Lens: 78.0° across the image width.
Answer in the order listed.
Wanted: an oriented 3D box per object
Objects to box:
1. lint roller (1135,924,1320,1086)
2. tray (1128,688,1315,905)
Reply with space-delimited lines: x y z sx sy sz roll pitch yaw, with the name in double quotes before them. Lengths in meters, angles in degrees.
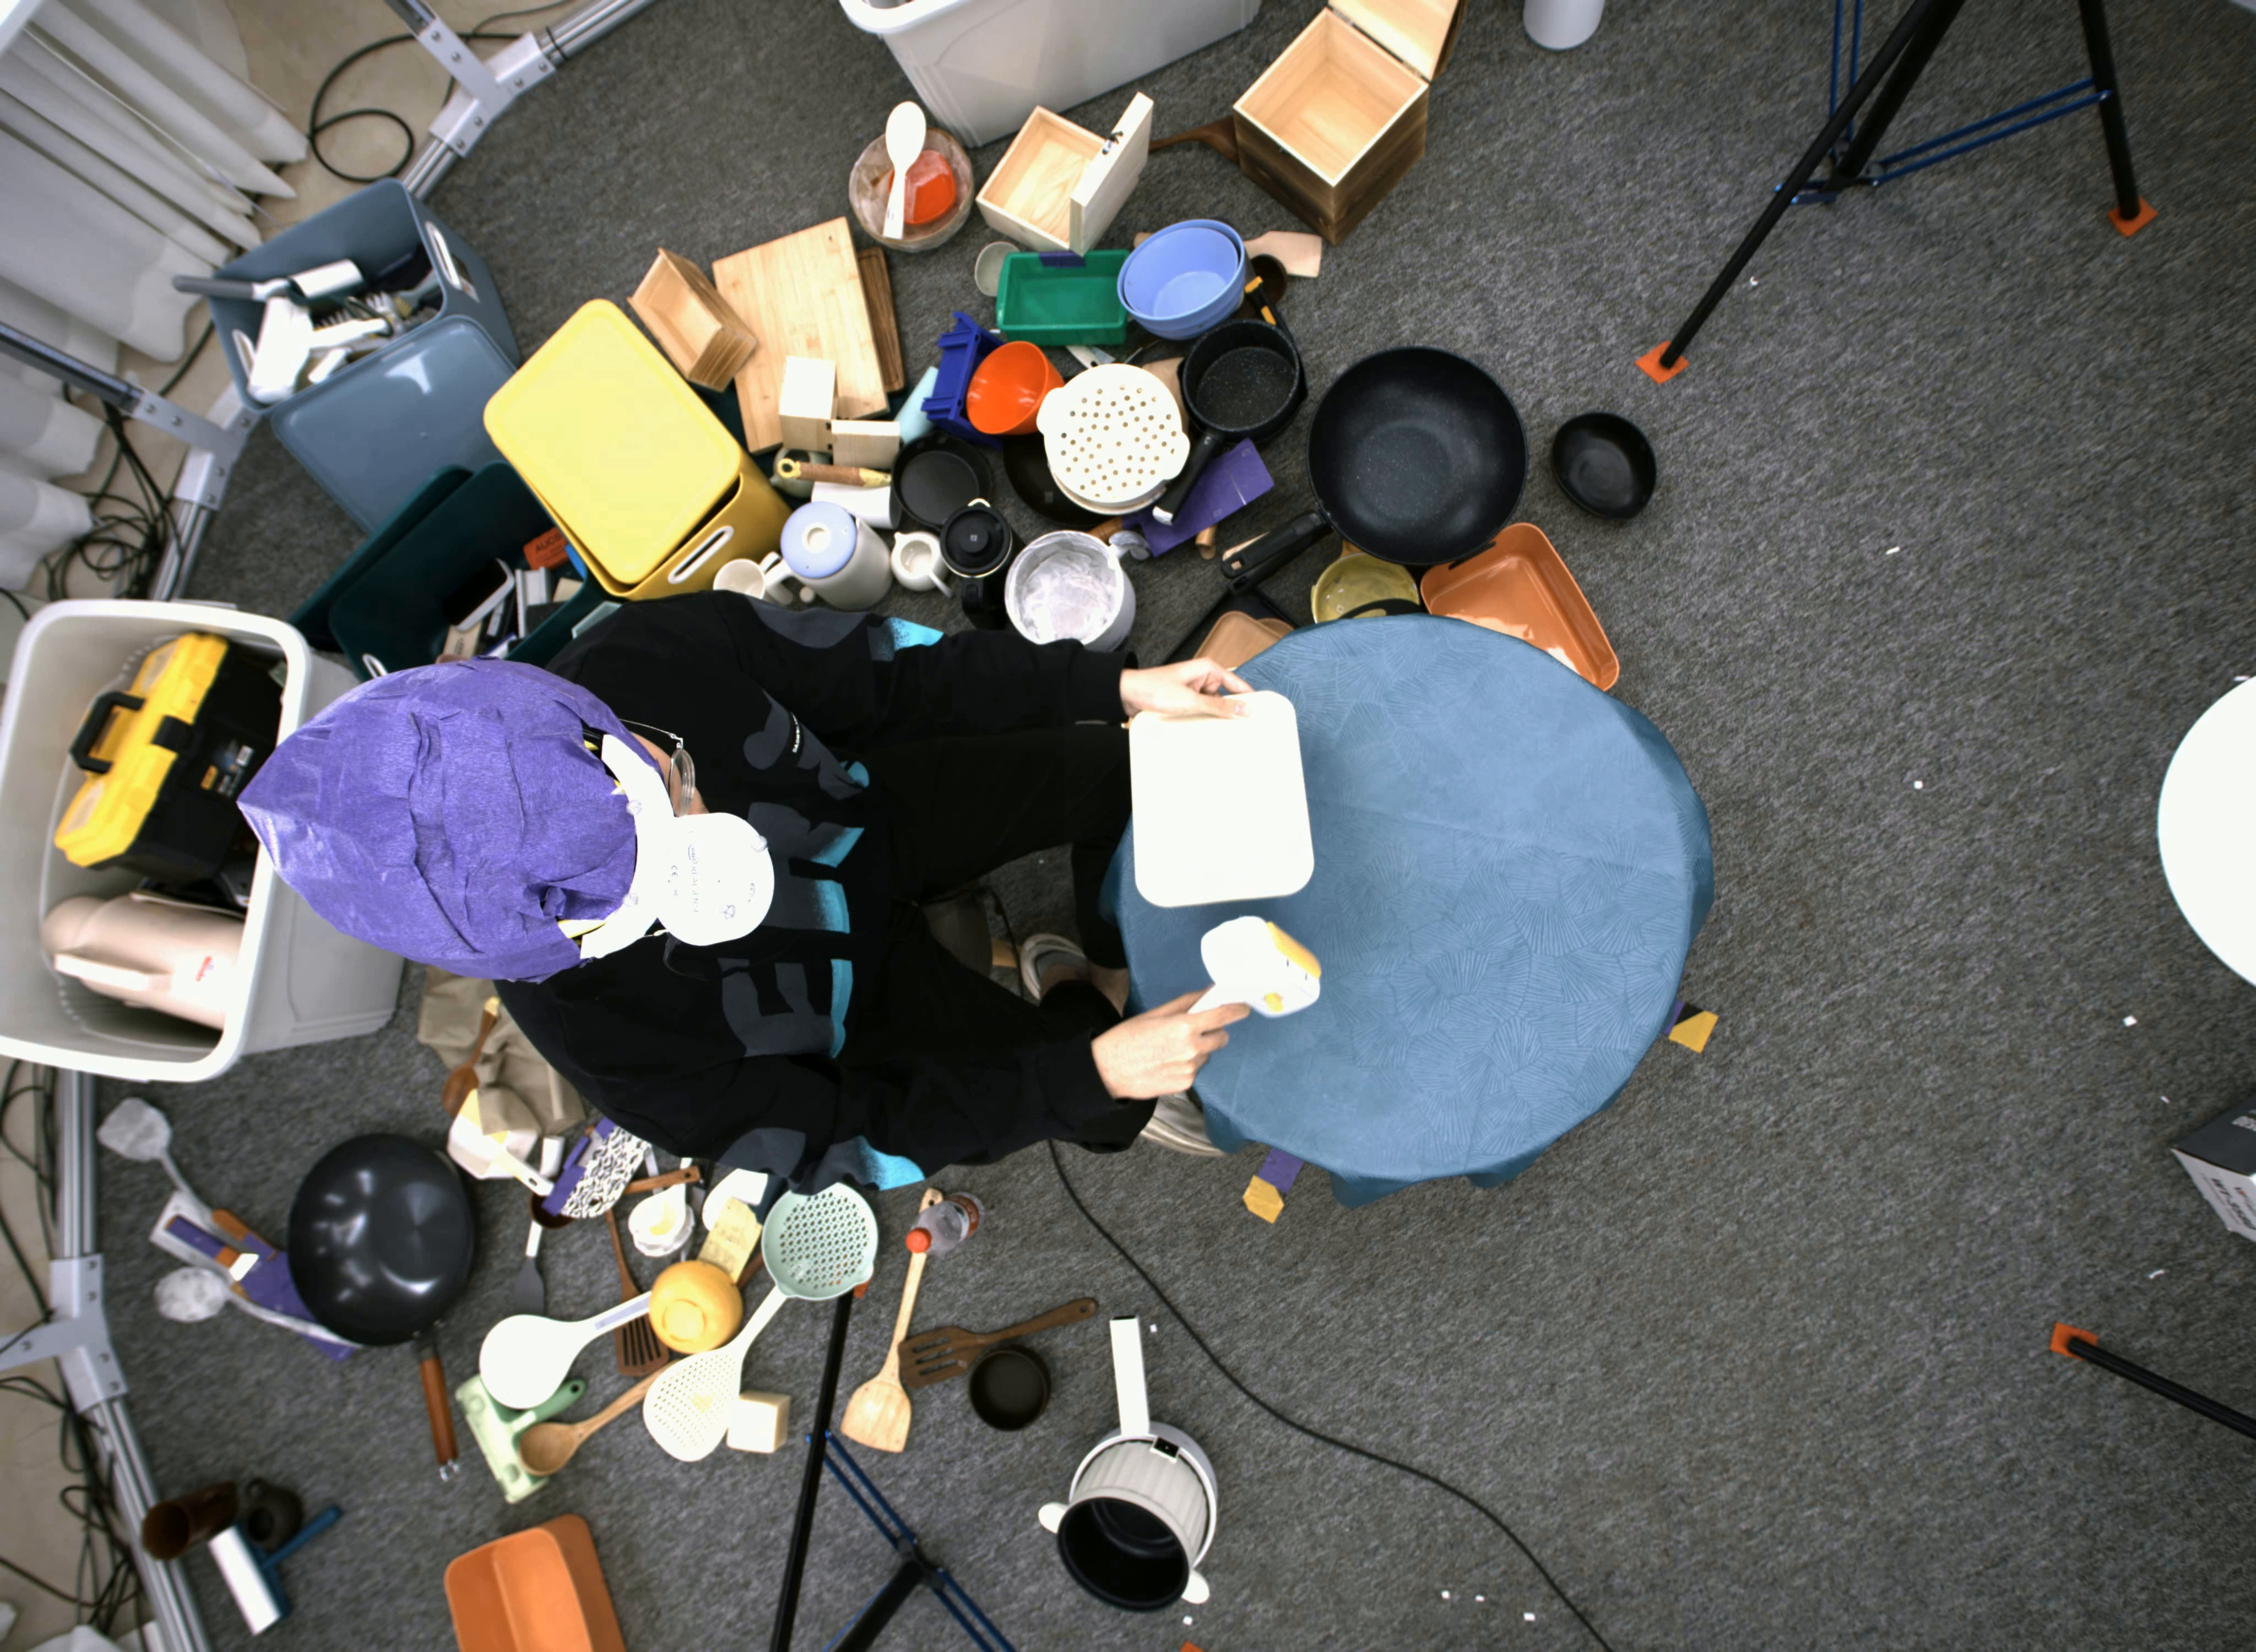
"lint roller" 0.079 0.173 1.306 0.194 0.193 0.073 -34 66 15
"tray" 0.088 -0.031 1.354 0.172 0.018 0.234 -7 59 8
